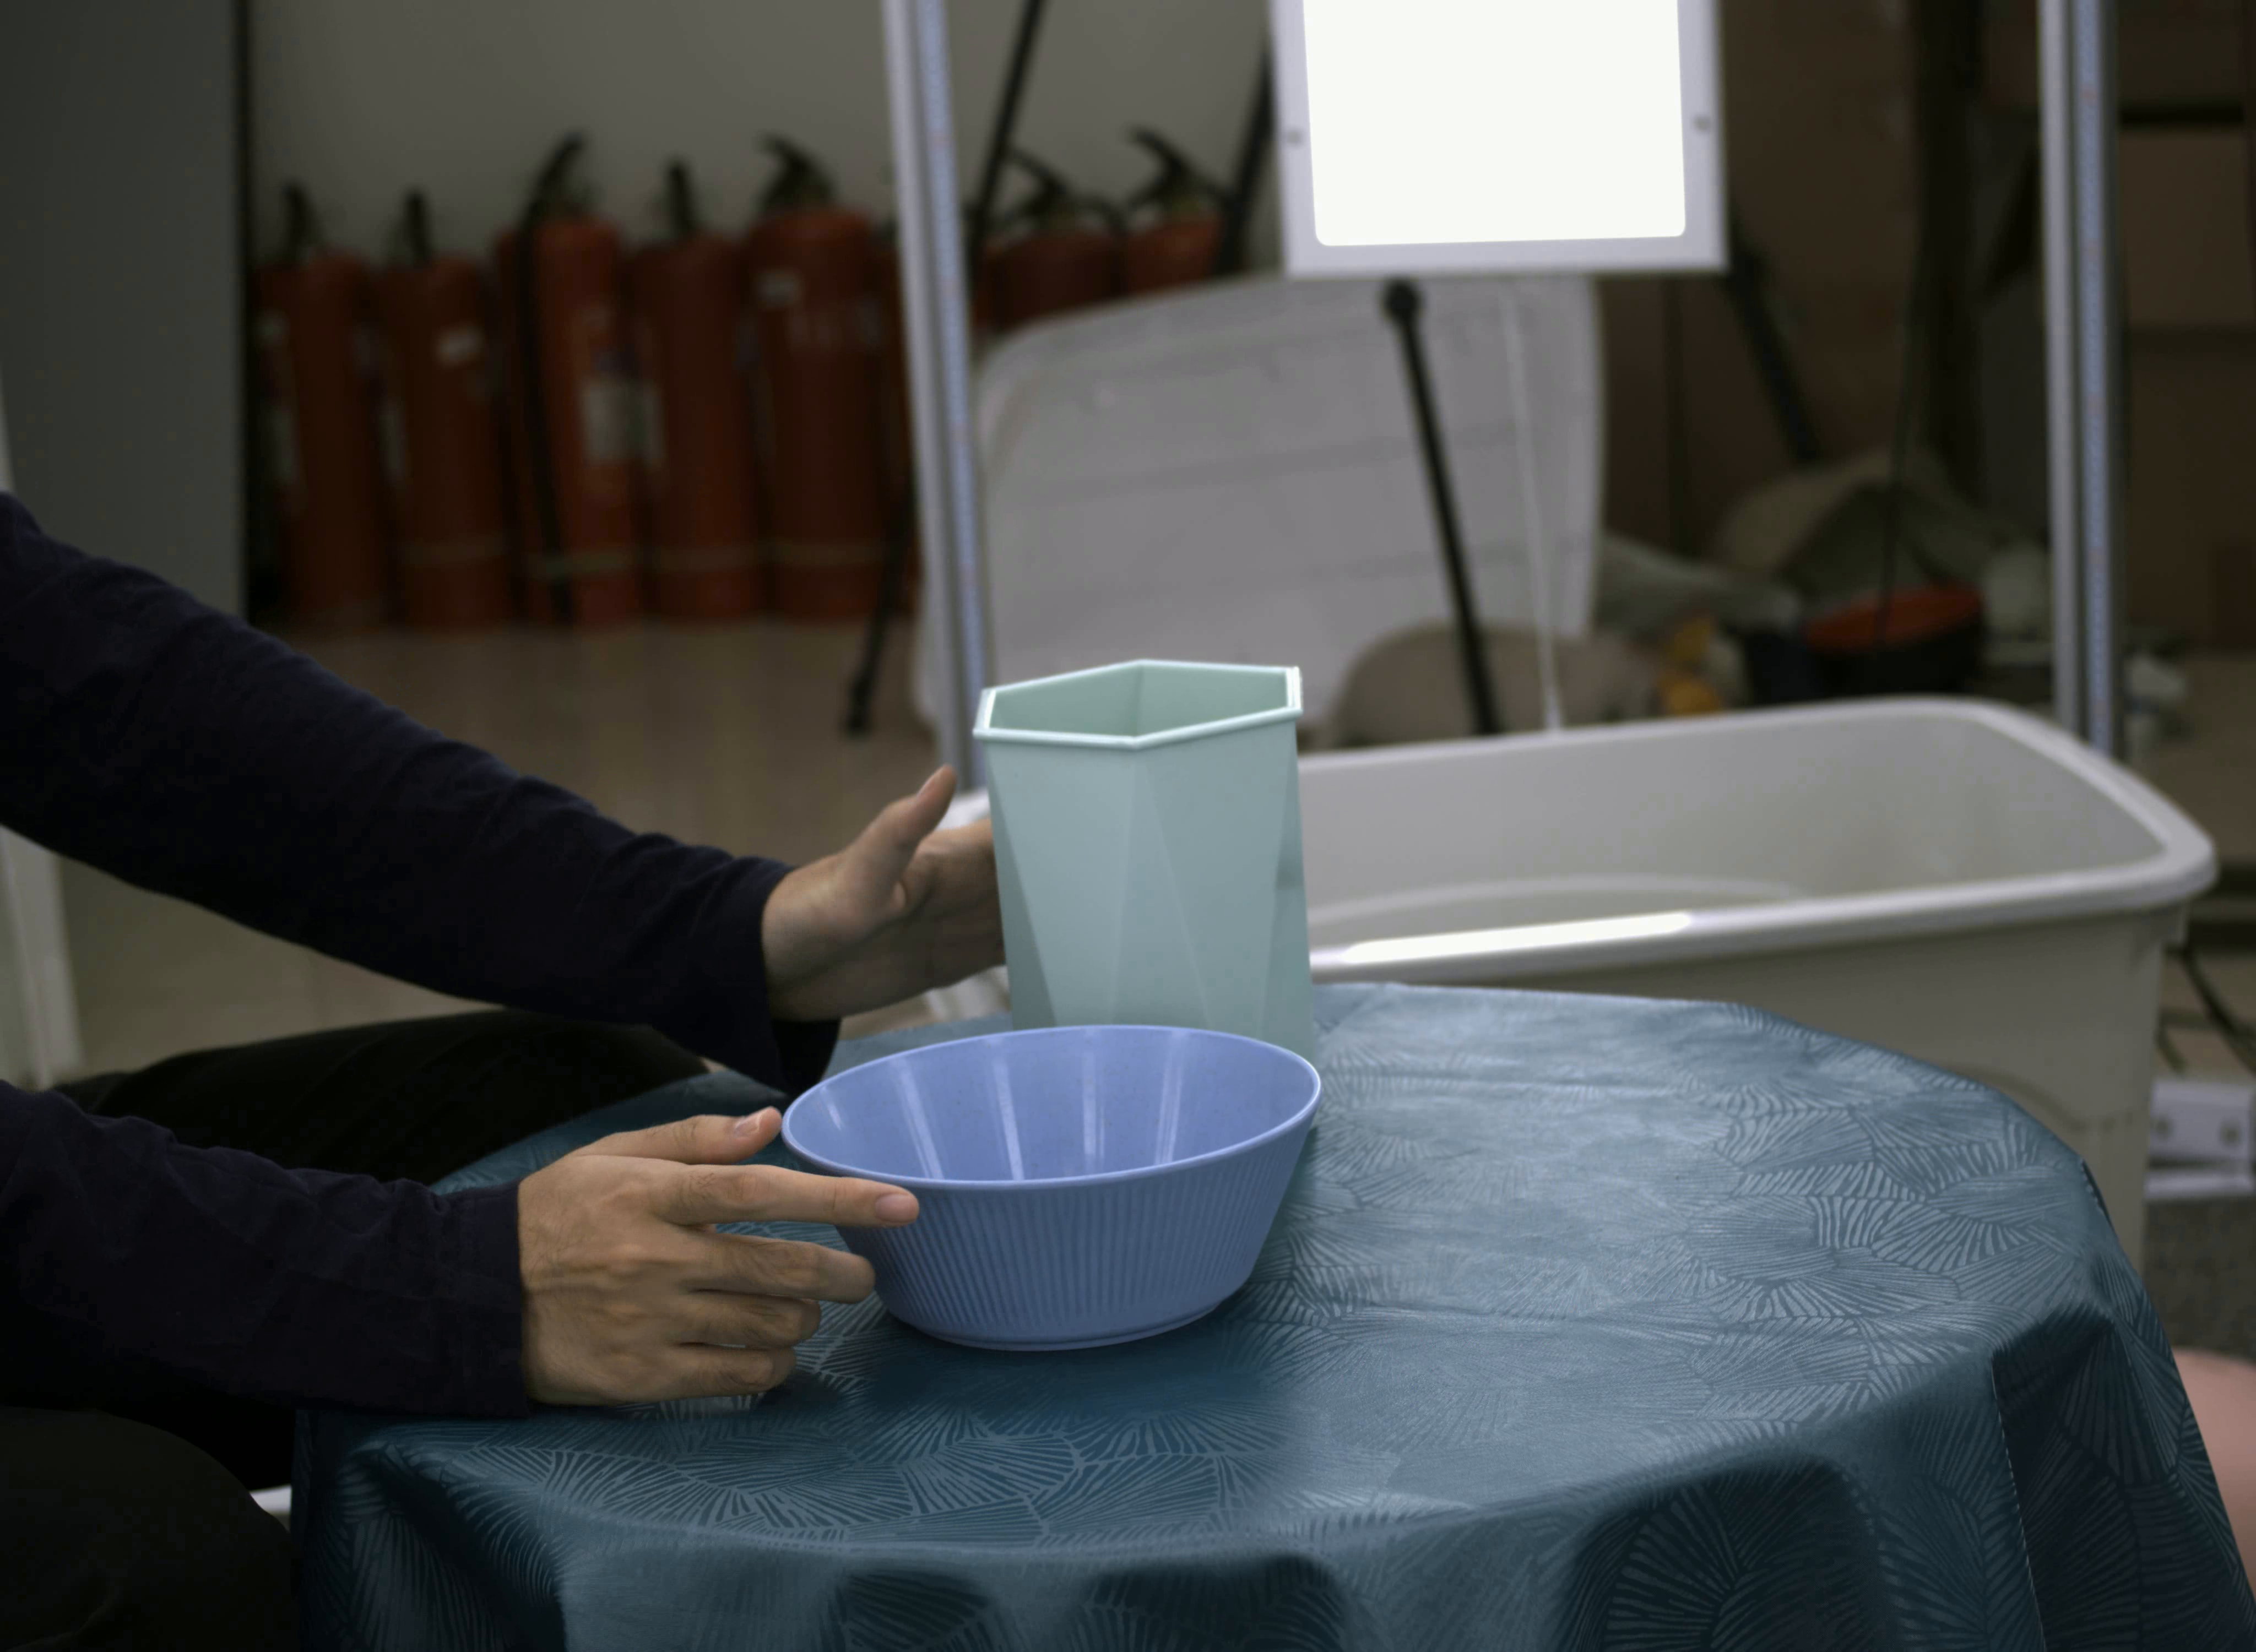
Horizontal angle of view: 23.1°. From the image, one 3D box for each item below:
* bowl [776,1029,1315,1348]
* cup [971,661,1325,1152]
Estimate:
[{"bbox_3d":[-0.024,0.120,1.786,0.175,0.070,0.176,-5,13,0],"label":"bowl"},{"bbox_3d":[0.011,0.032,1.939,0.115,0.163,0.131,-7,12,1],"label":"cup"}]
